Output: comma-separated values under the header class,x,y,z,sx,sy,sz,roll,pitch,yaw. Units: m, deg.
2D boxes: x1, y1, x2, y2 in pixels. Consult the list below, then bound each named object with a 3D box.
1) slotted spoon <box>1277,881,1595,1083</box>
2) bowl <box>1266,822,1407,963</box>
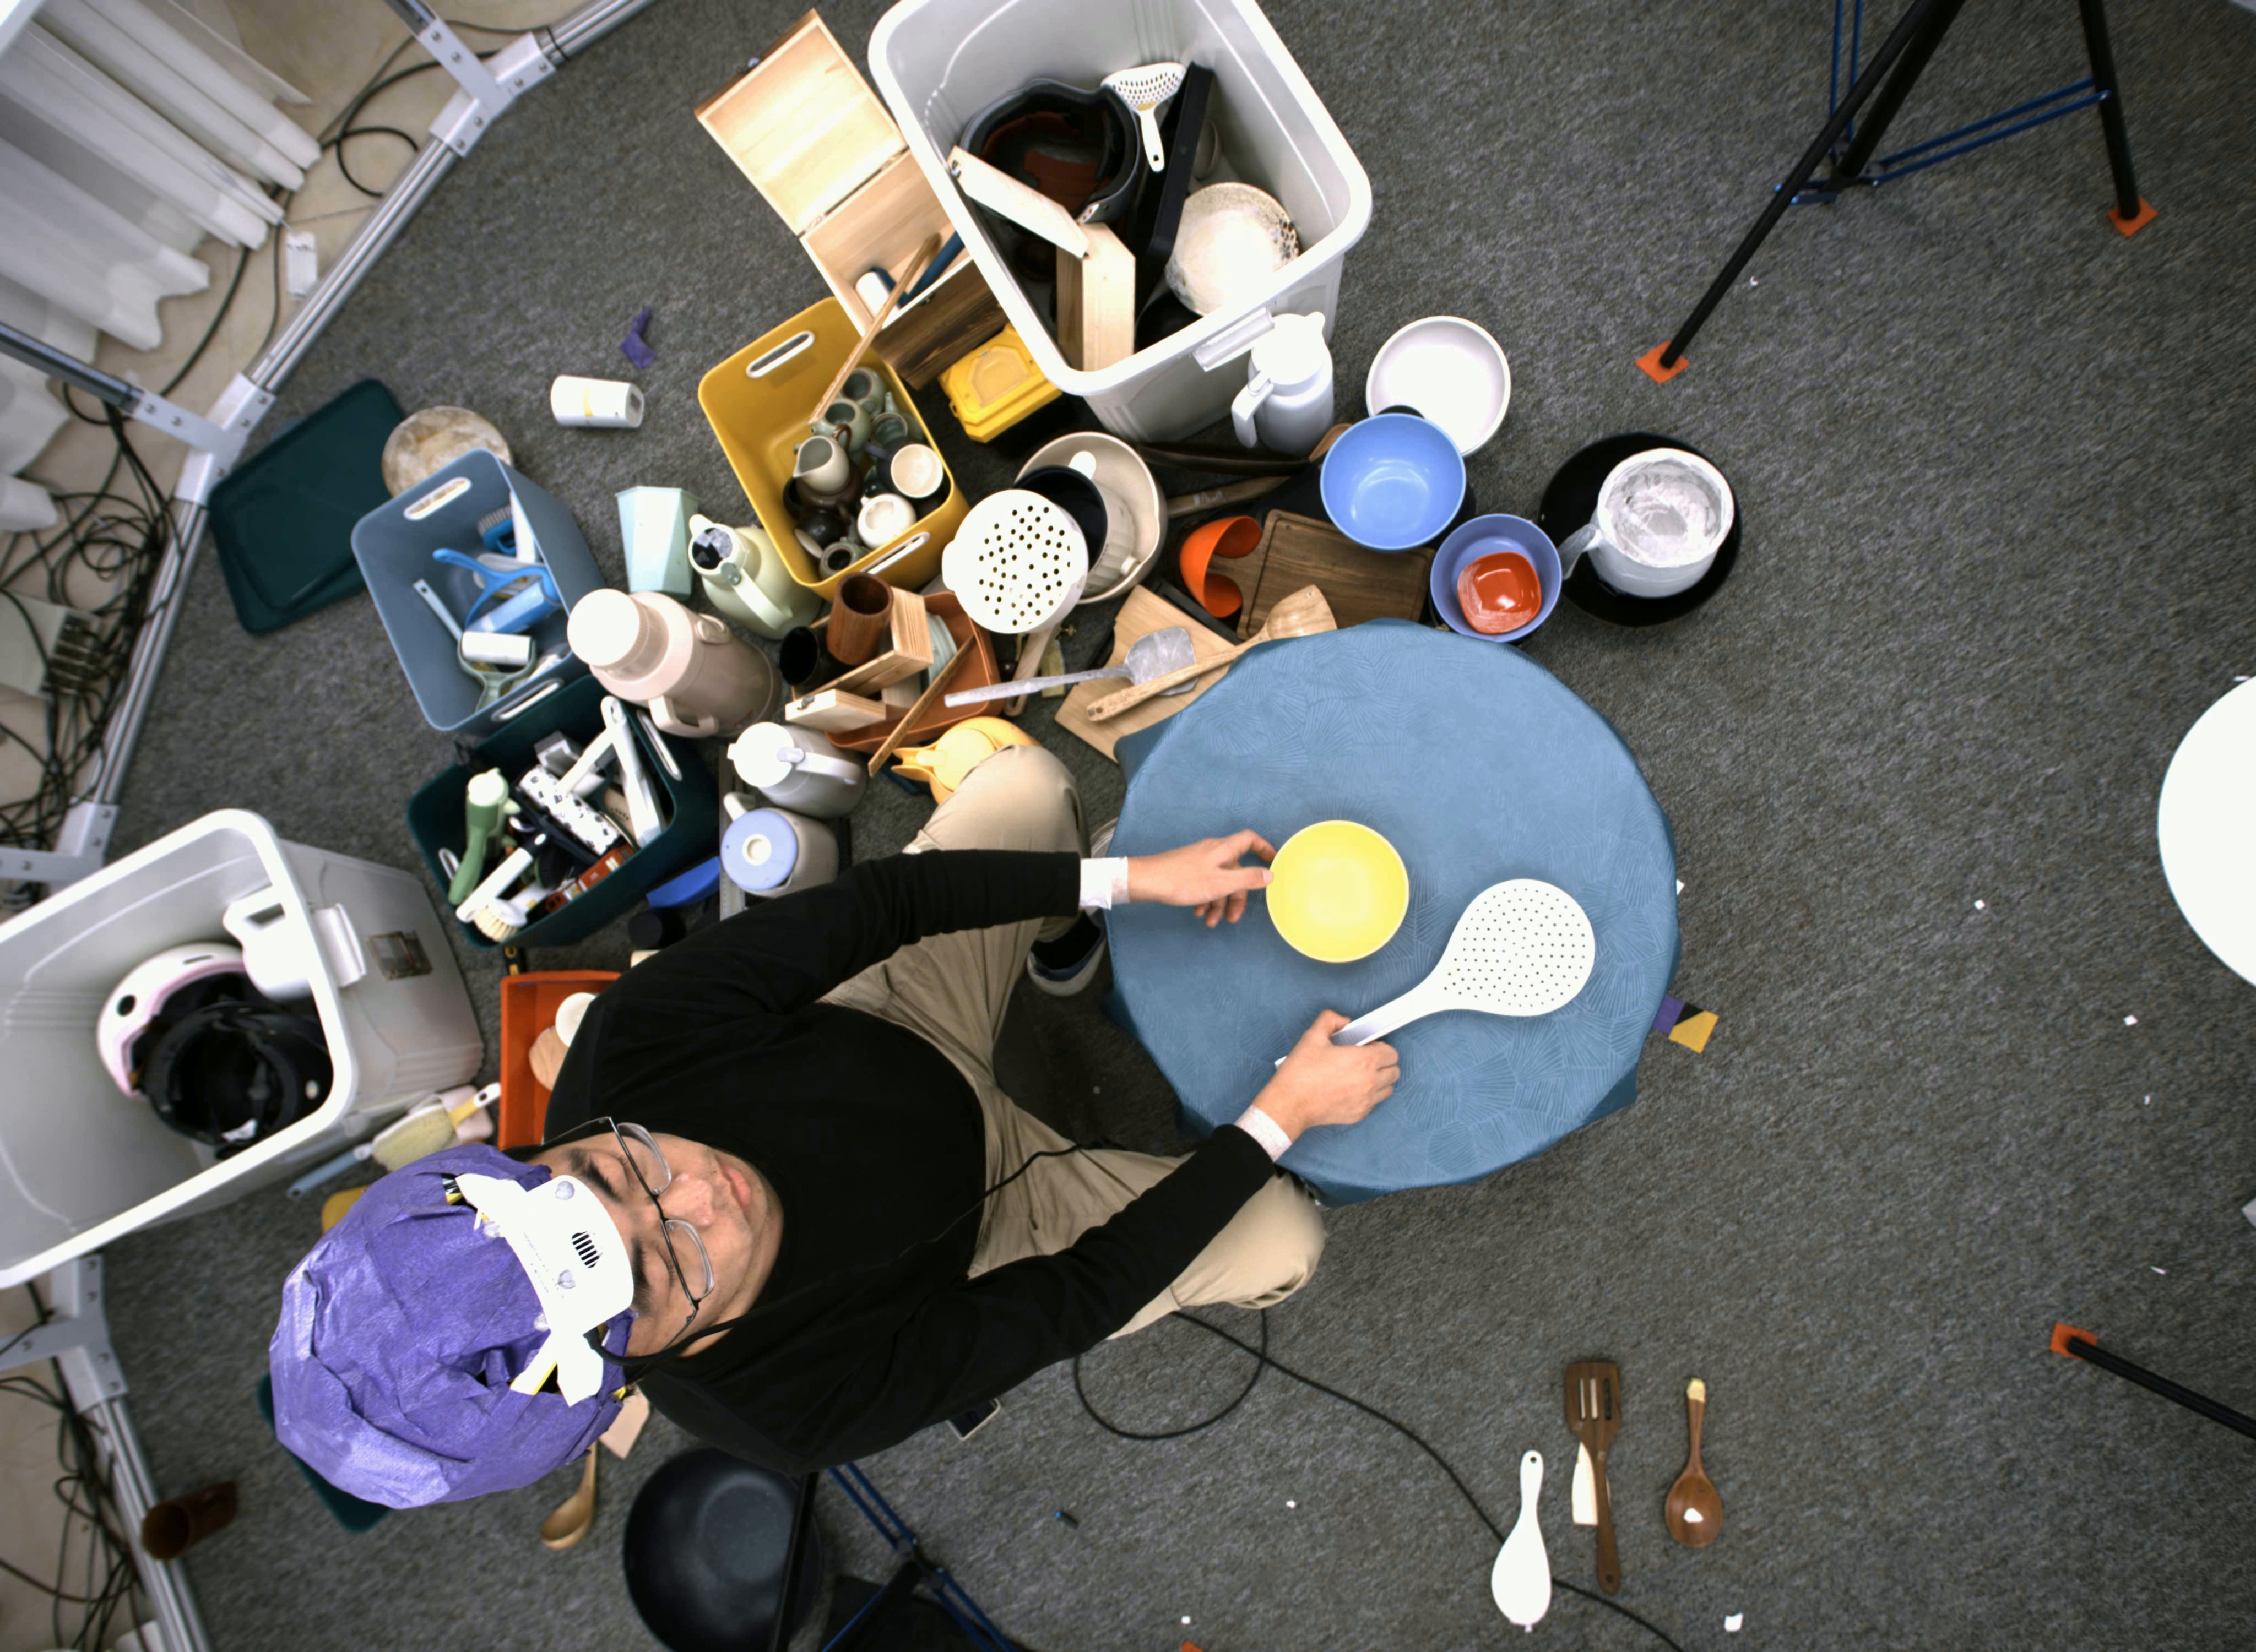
class,x,y,z,sx,sy,sz,roll,pitch,yaw
slotted spoon,0.311,0.174,1.422,0.352,0.046,0.135,-29,81,8
bowl,0.217,0.071,1.442,0.146,0.060,0.144,-1,84,10
